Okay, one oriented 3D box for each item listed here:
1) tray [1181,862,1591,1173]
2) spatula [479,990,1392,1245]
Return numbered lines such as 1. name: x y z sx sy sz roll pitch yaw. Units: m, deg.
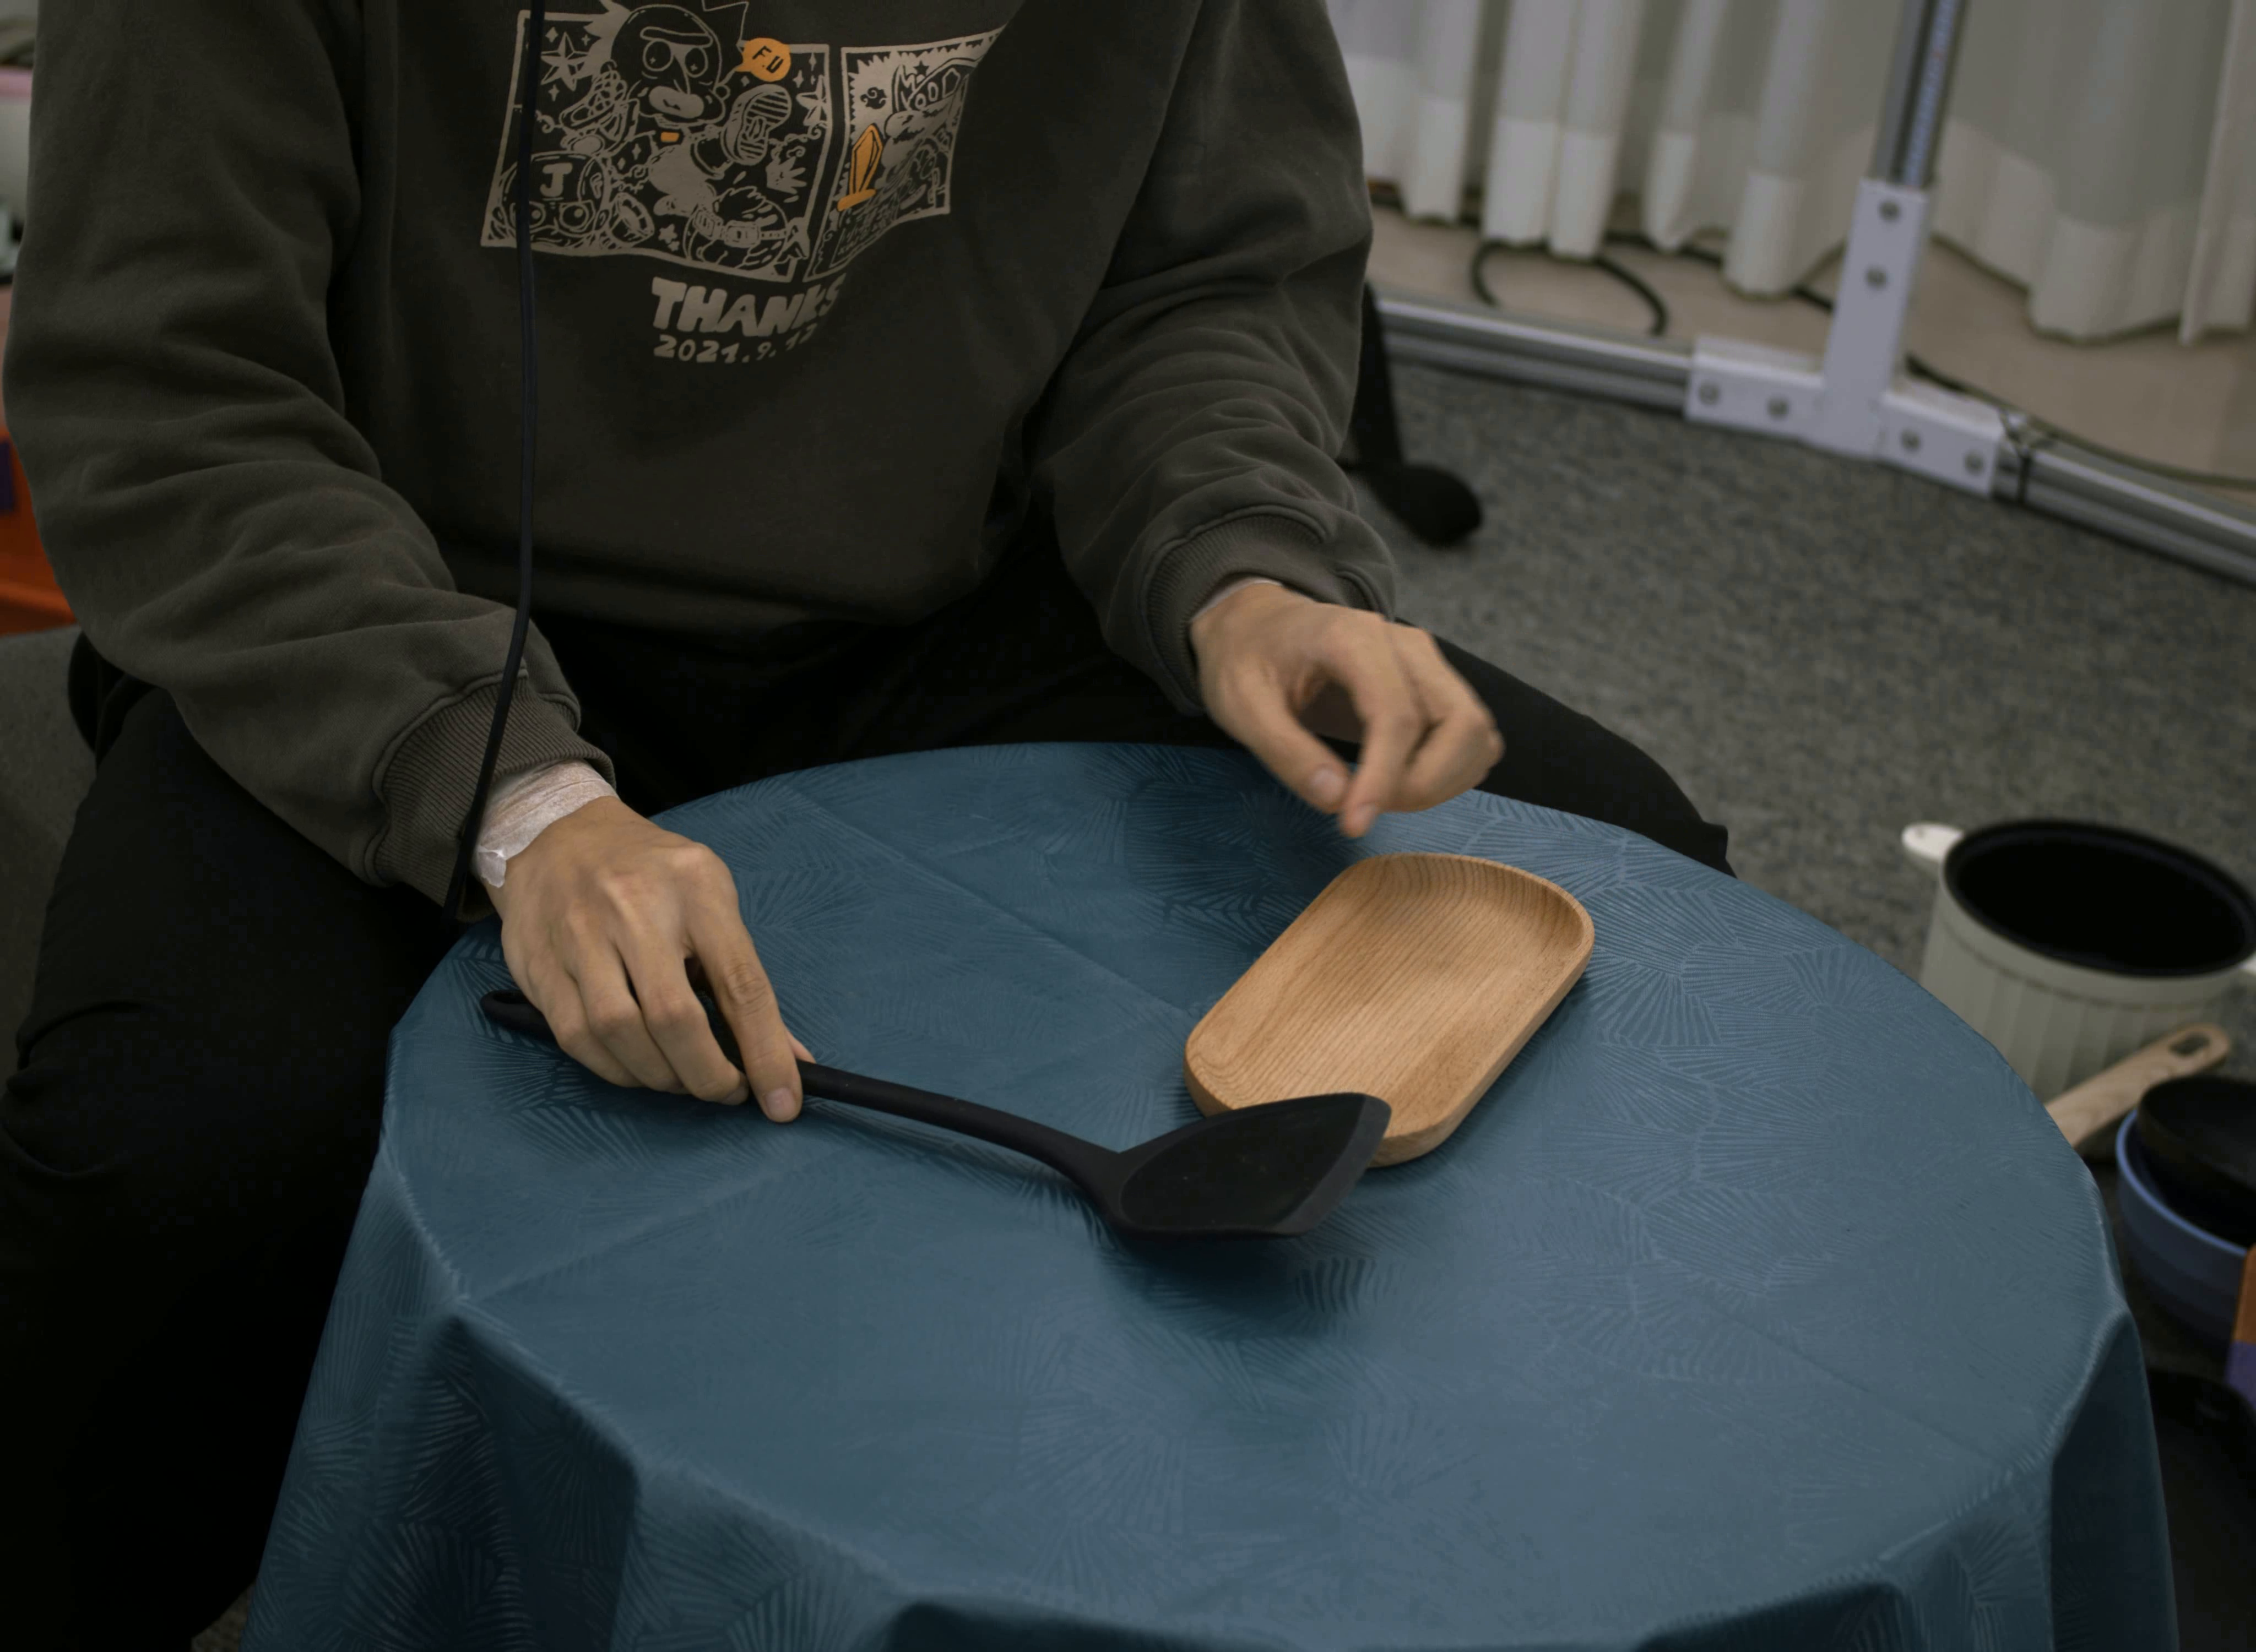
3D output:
1. tray: 0.095 0.067 1.920 0.102 0.020 0.231 16 29 19
2. spatula: -0.074 0.090 1.814 0.327 0.040 0.100 15 28 16
